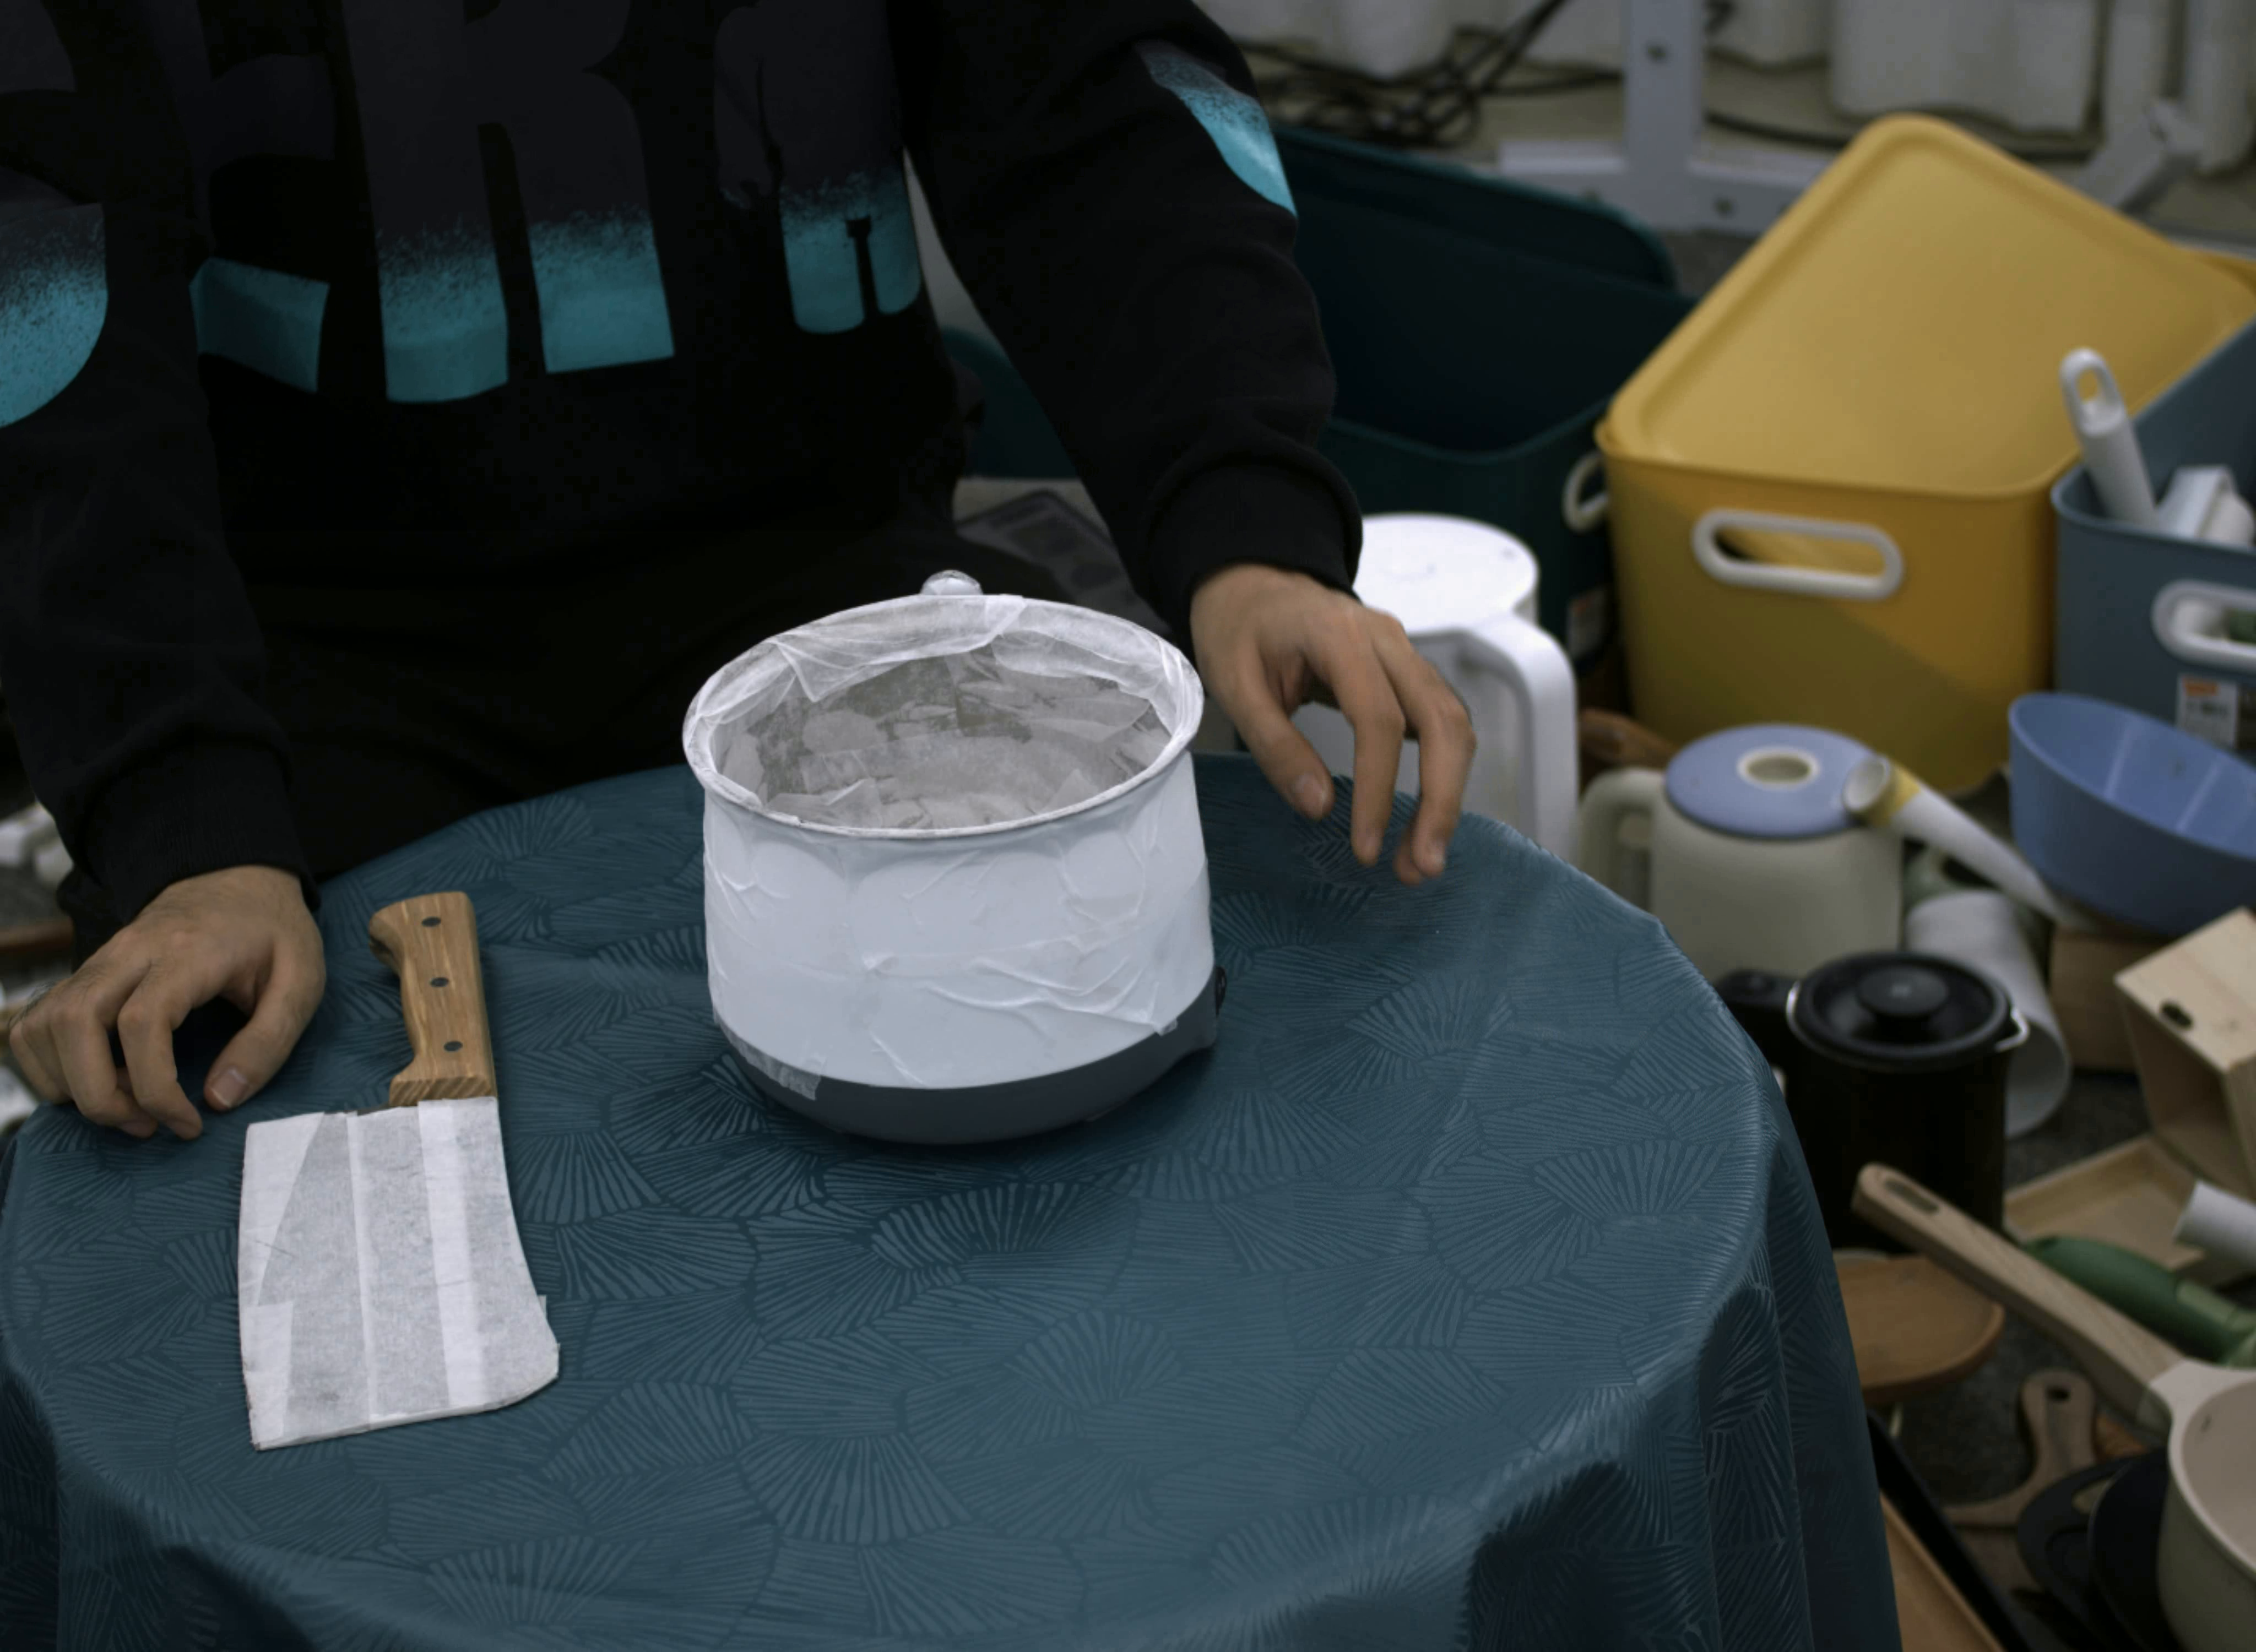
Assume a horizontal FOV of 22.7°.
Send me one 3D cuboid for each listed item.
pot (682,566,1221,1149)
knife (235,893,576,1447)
[{"bbox_3d":[-0.059,0.004,1.947,0.178,0.135,0.237,-3,28,-1],"label":"pot"},{"bbox_3d":[-0.244,0.112,1.887,0.113,0.021,0.320,-5,30,-3],"label":"knife"}]
